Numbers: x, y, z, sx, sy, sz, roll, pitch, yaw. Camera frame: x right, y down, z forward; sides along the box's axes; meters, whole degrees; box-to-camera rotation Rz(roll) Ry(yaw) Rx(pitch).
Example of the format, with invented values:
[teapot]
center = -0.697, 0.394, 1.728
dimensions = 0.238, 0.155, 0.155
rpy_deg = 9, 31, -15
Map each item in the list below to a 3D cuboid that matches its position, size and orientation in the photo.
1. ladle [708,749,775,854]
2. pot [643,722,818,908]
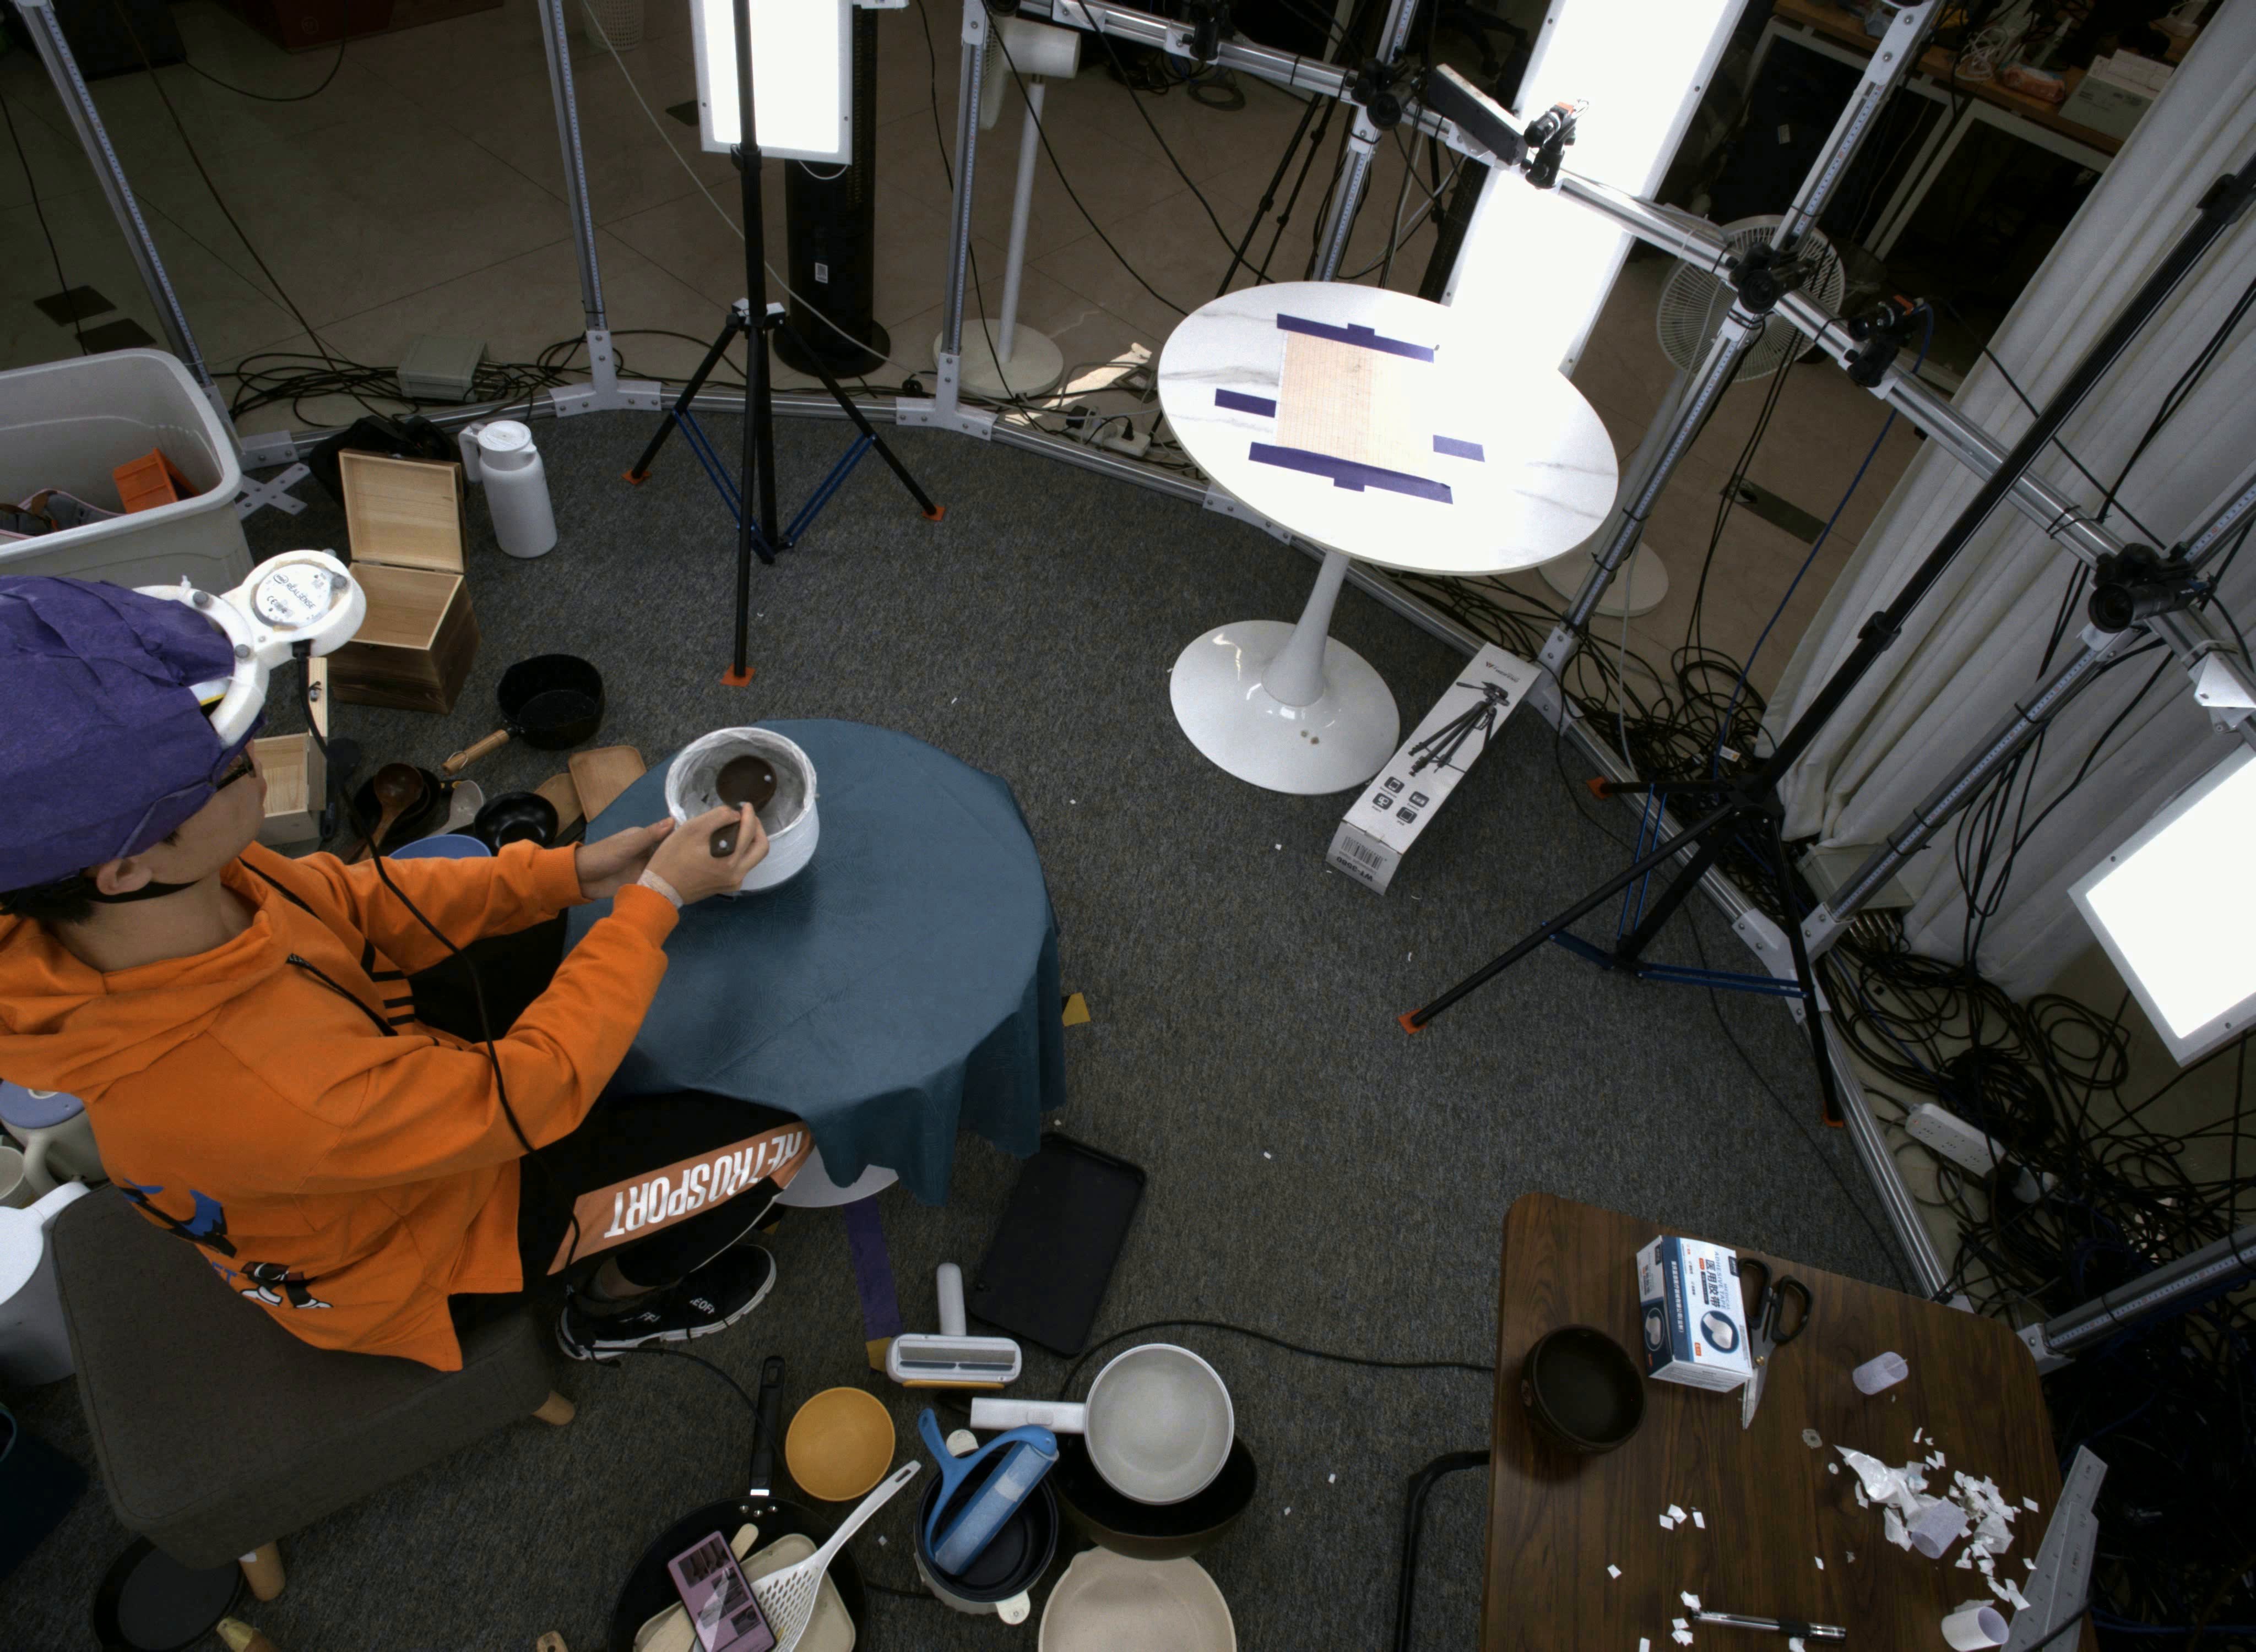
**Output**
[ladle]
center = -0.447, -0.034, 1.456
dimensions = 0.075, 0.073, 0.269
rpy_deg = -14, 13, -5
[pot]
center = -0.487, -0.001, 1.560
dimensions = 0.175, 0.139, 0.234
rpy_deg = 38, 57, 15
